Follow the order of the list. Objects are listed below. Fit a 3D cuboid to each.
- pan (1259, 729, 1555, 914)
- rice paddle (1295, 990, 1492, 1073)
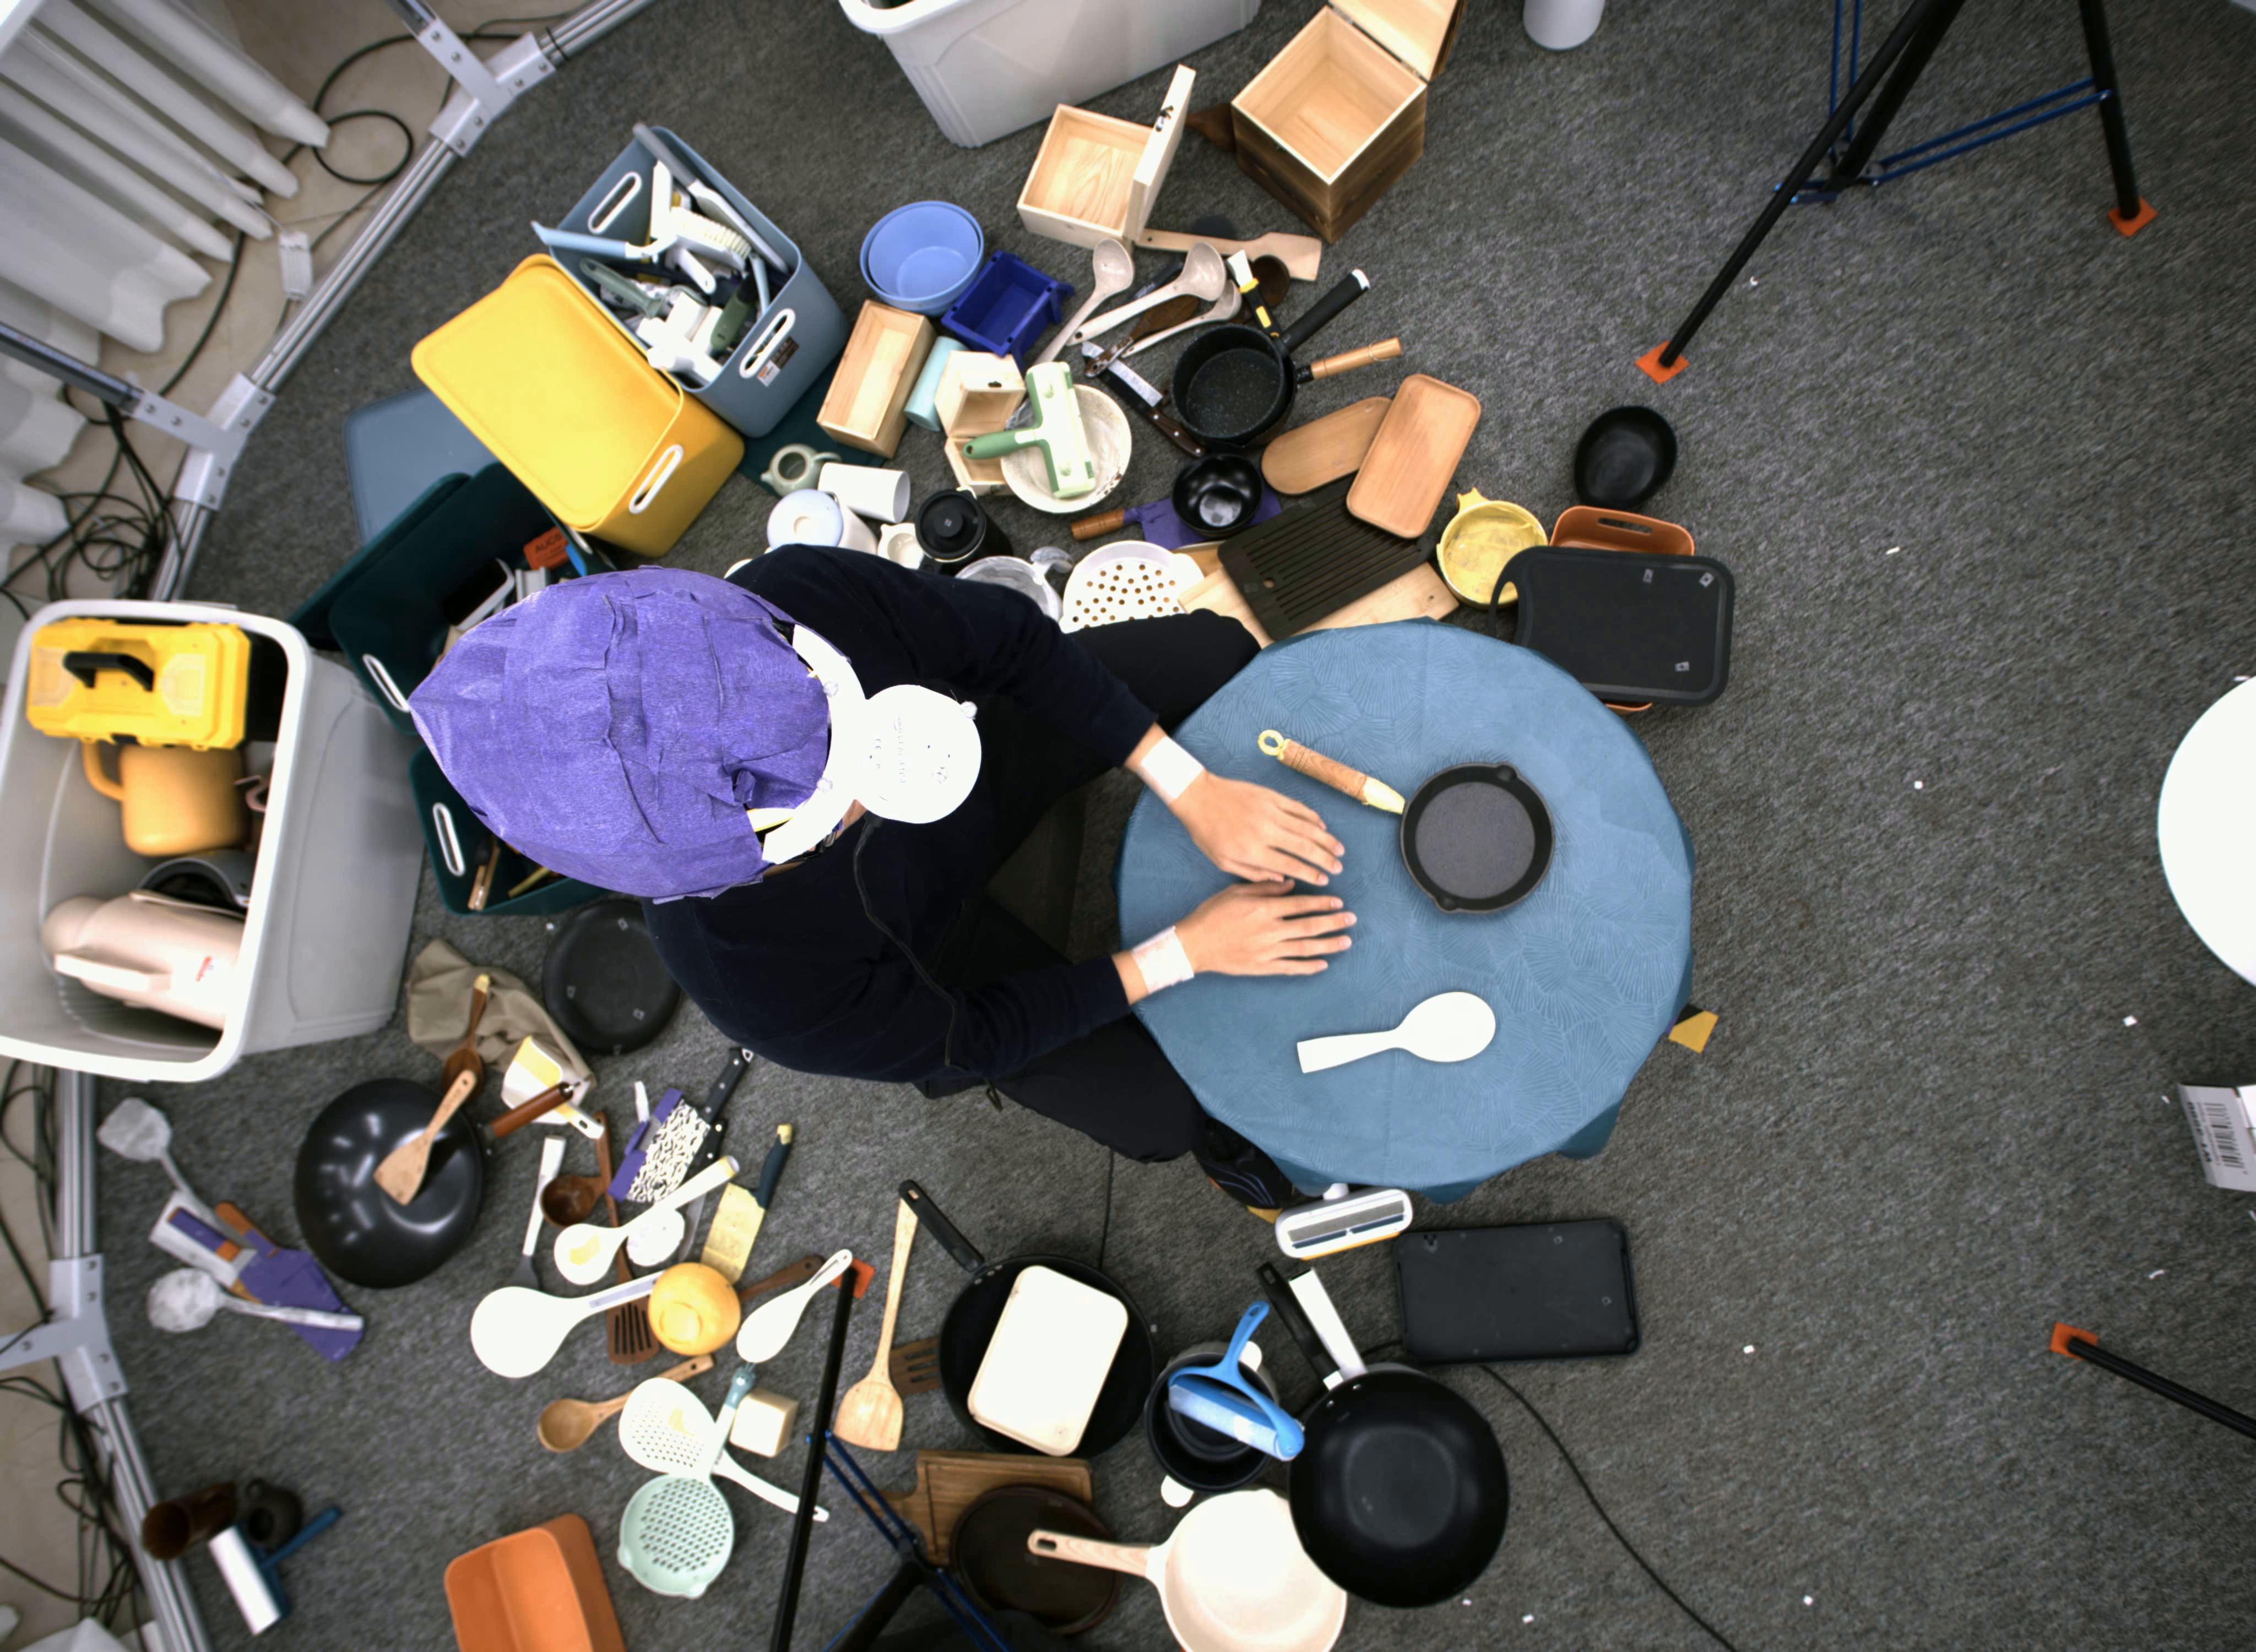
[{"bbox_3d":[0.286,-0.026,1.437,0.324,0.049,0.169,27,92,9],"label":"pan"},{"bbox_3d":[0.276,0.217,1.436,0.206,0.029,0.068,-14,86,10],"label":"rice paddle"}]
